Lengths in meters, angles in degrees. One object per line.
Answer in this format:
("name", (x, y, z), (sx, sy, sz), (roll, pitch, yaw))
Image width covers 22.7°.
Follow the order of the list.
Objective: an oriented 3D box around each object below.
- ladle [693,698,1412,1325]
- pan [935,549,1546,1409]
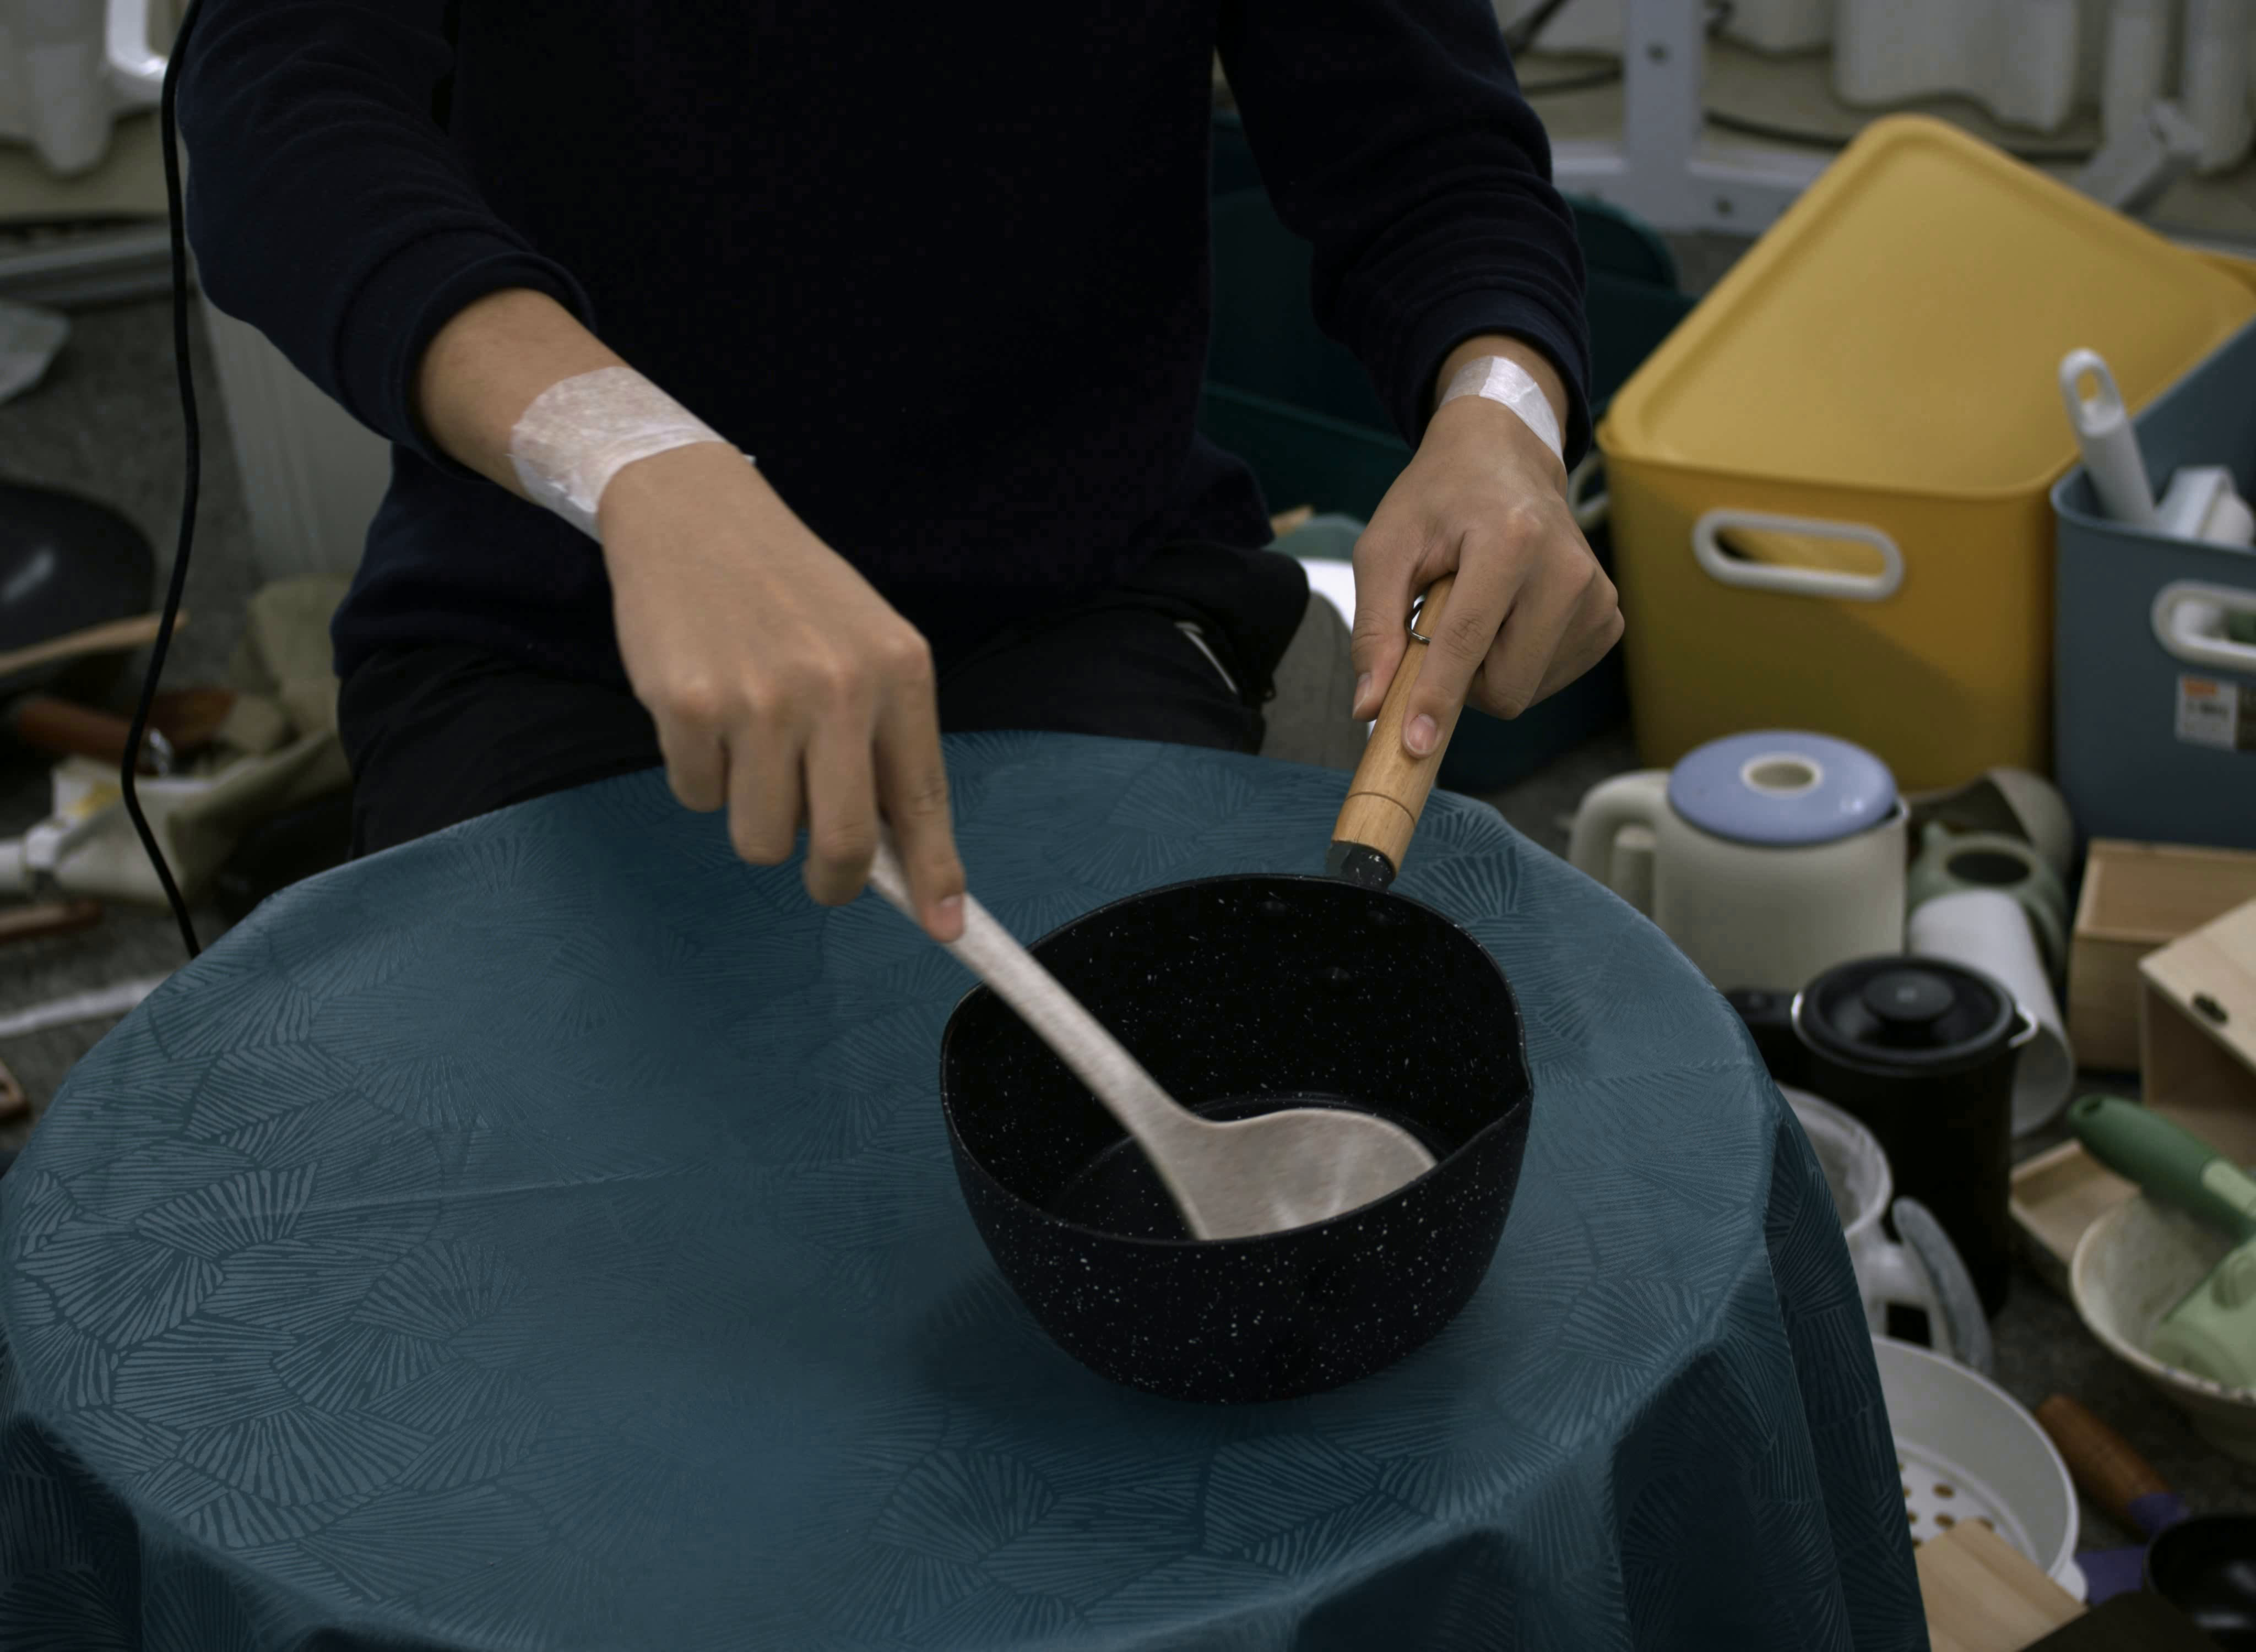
("ladle", (-0.018, 0.047, 1.709), (0.068, 0.273, 0.091), (-27, 25, 39))
("pan", (0.063, 0.047, 1.836), (0.206, 0.107, 0.350), (5, 39, 21))
